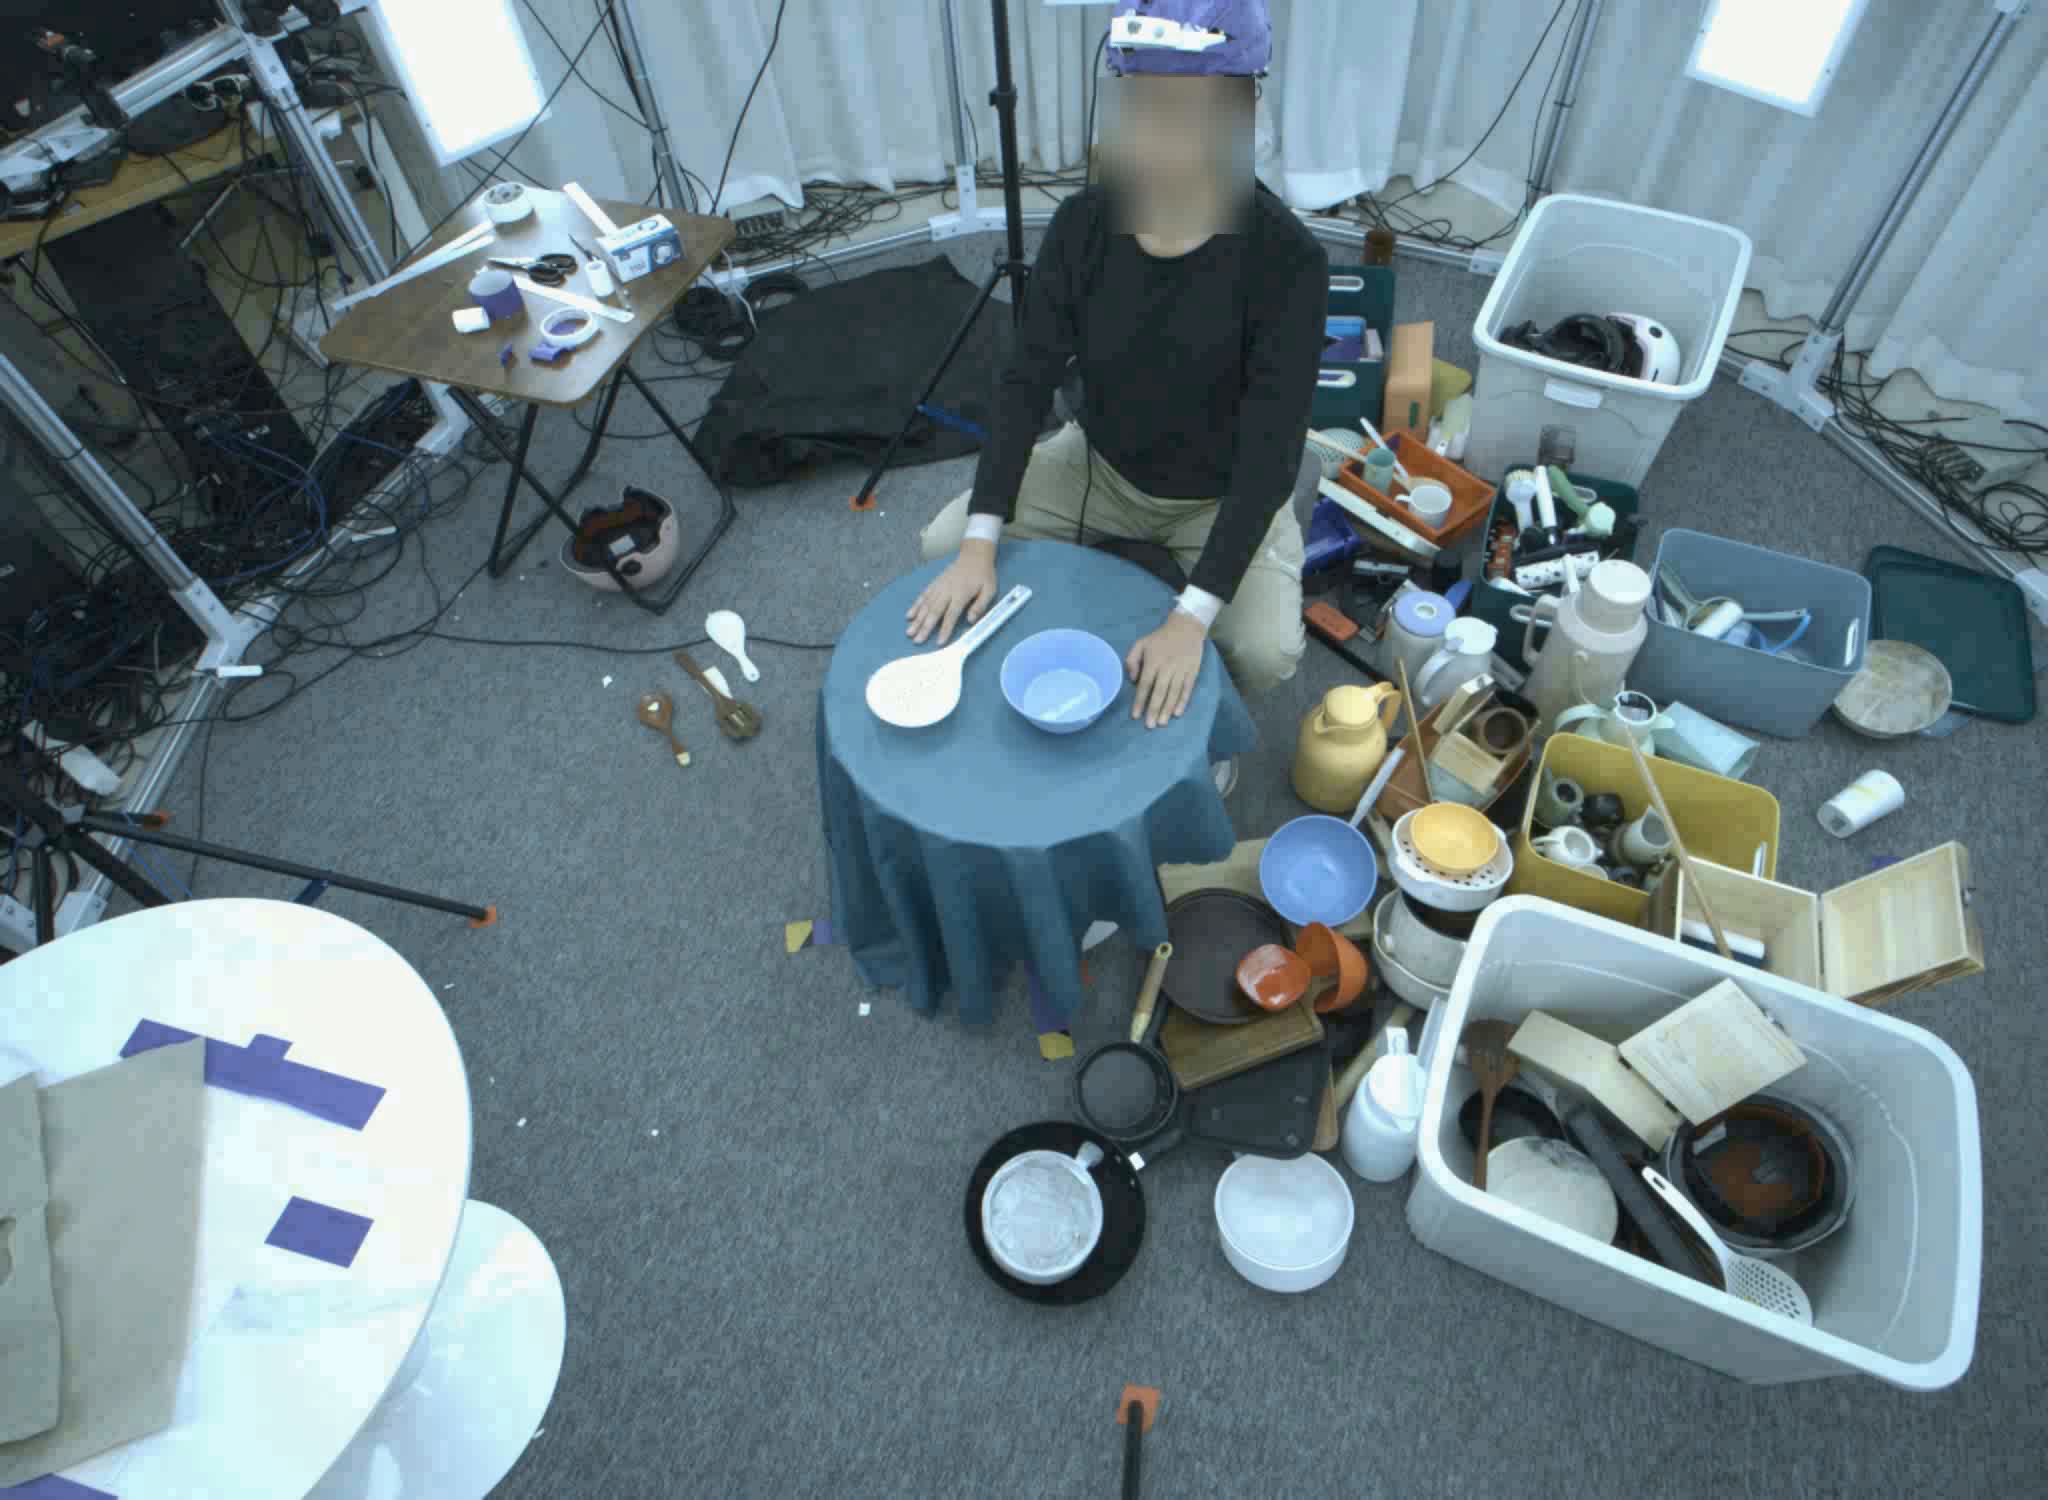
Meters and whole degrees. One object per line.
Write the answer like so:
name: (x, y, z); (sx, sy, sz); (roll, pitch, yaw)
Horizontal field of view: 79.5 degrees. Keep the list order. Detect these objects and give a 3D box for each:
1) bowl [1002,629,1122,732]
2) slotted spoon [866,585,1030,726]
bowl: (0.056, -0.092, 1.808); (0.176, 0.071, 0.174); (0, 54, 2)
slotted spoon: (-0.102, -0.150, 1.869); (0.134, 0.046, 0.351); (29, 60, 21)
